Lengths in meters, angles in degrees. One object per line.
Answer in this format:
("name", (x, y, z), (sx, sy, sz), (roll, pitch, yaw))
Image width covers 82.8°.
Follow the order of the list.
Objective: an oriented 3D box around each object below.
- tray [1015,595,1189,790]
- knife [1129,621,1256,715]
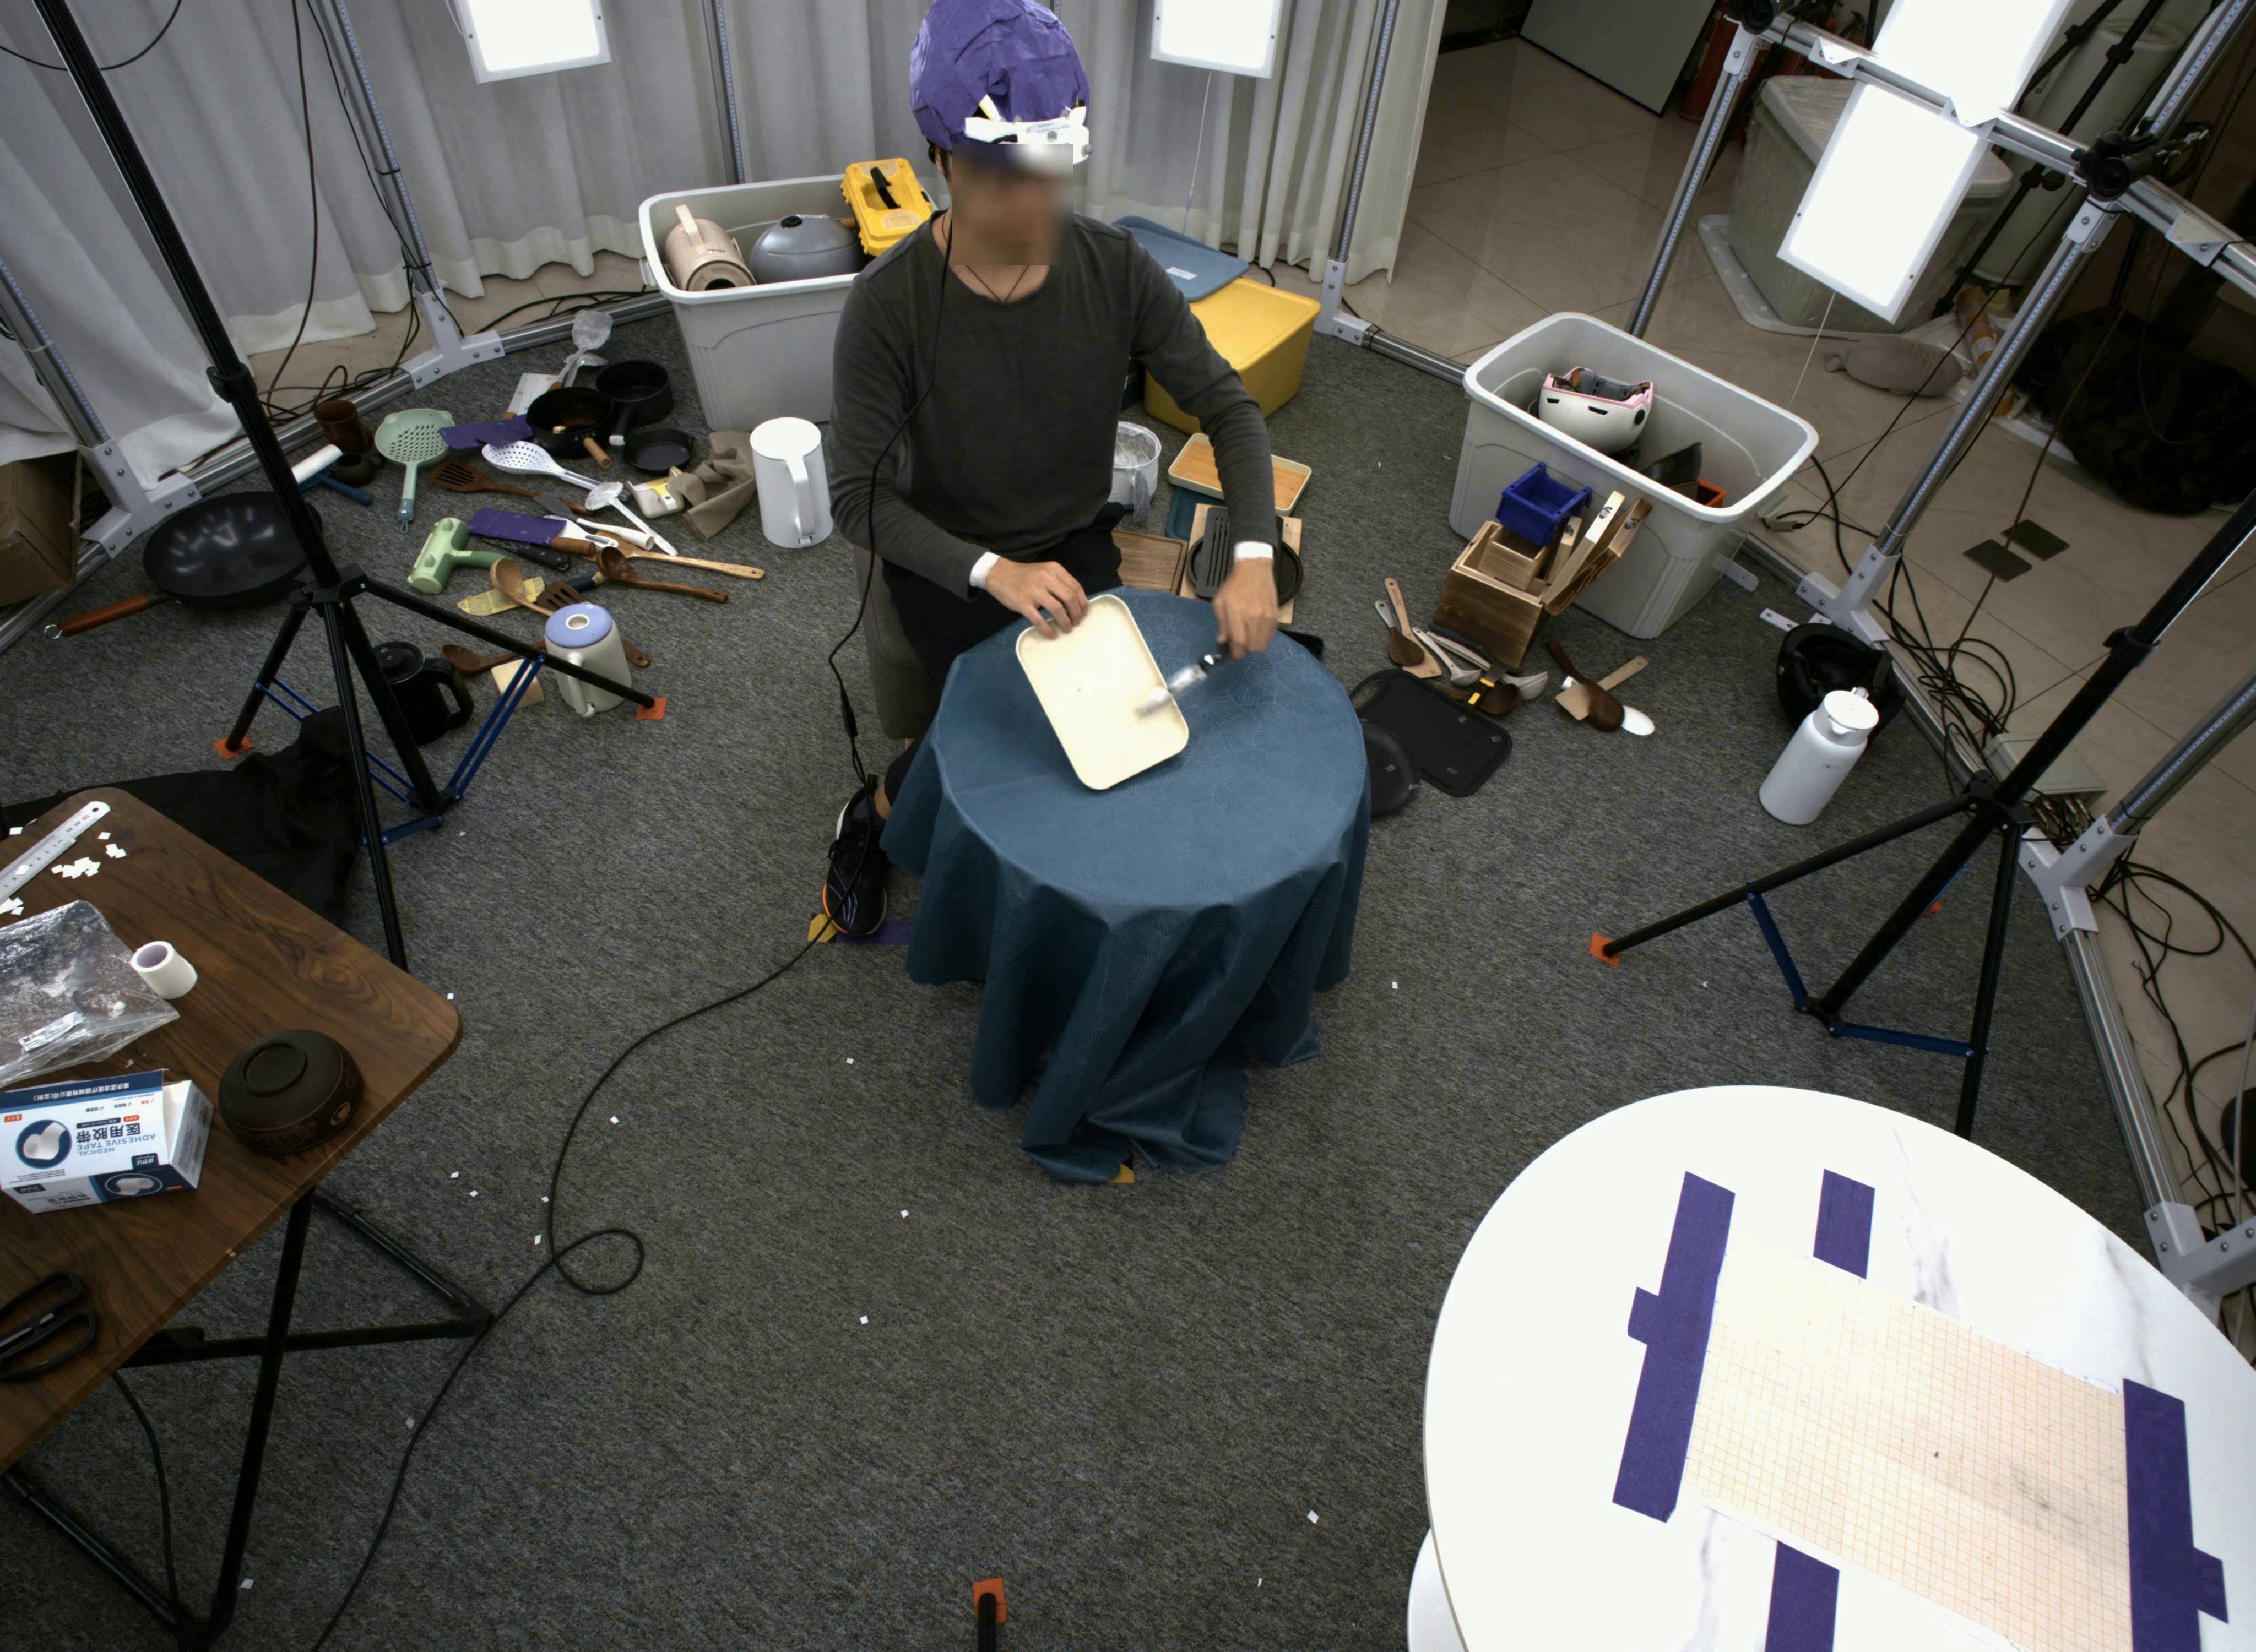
("tray", (-0.035, -0.180, 1.726), (0.172, 0.017, 0.240), (-26, 88, -15))
("knife", (0.087, -0.218, 1.758), (0.240, 0.016, 0.024), (-38, 92, -23))
